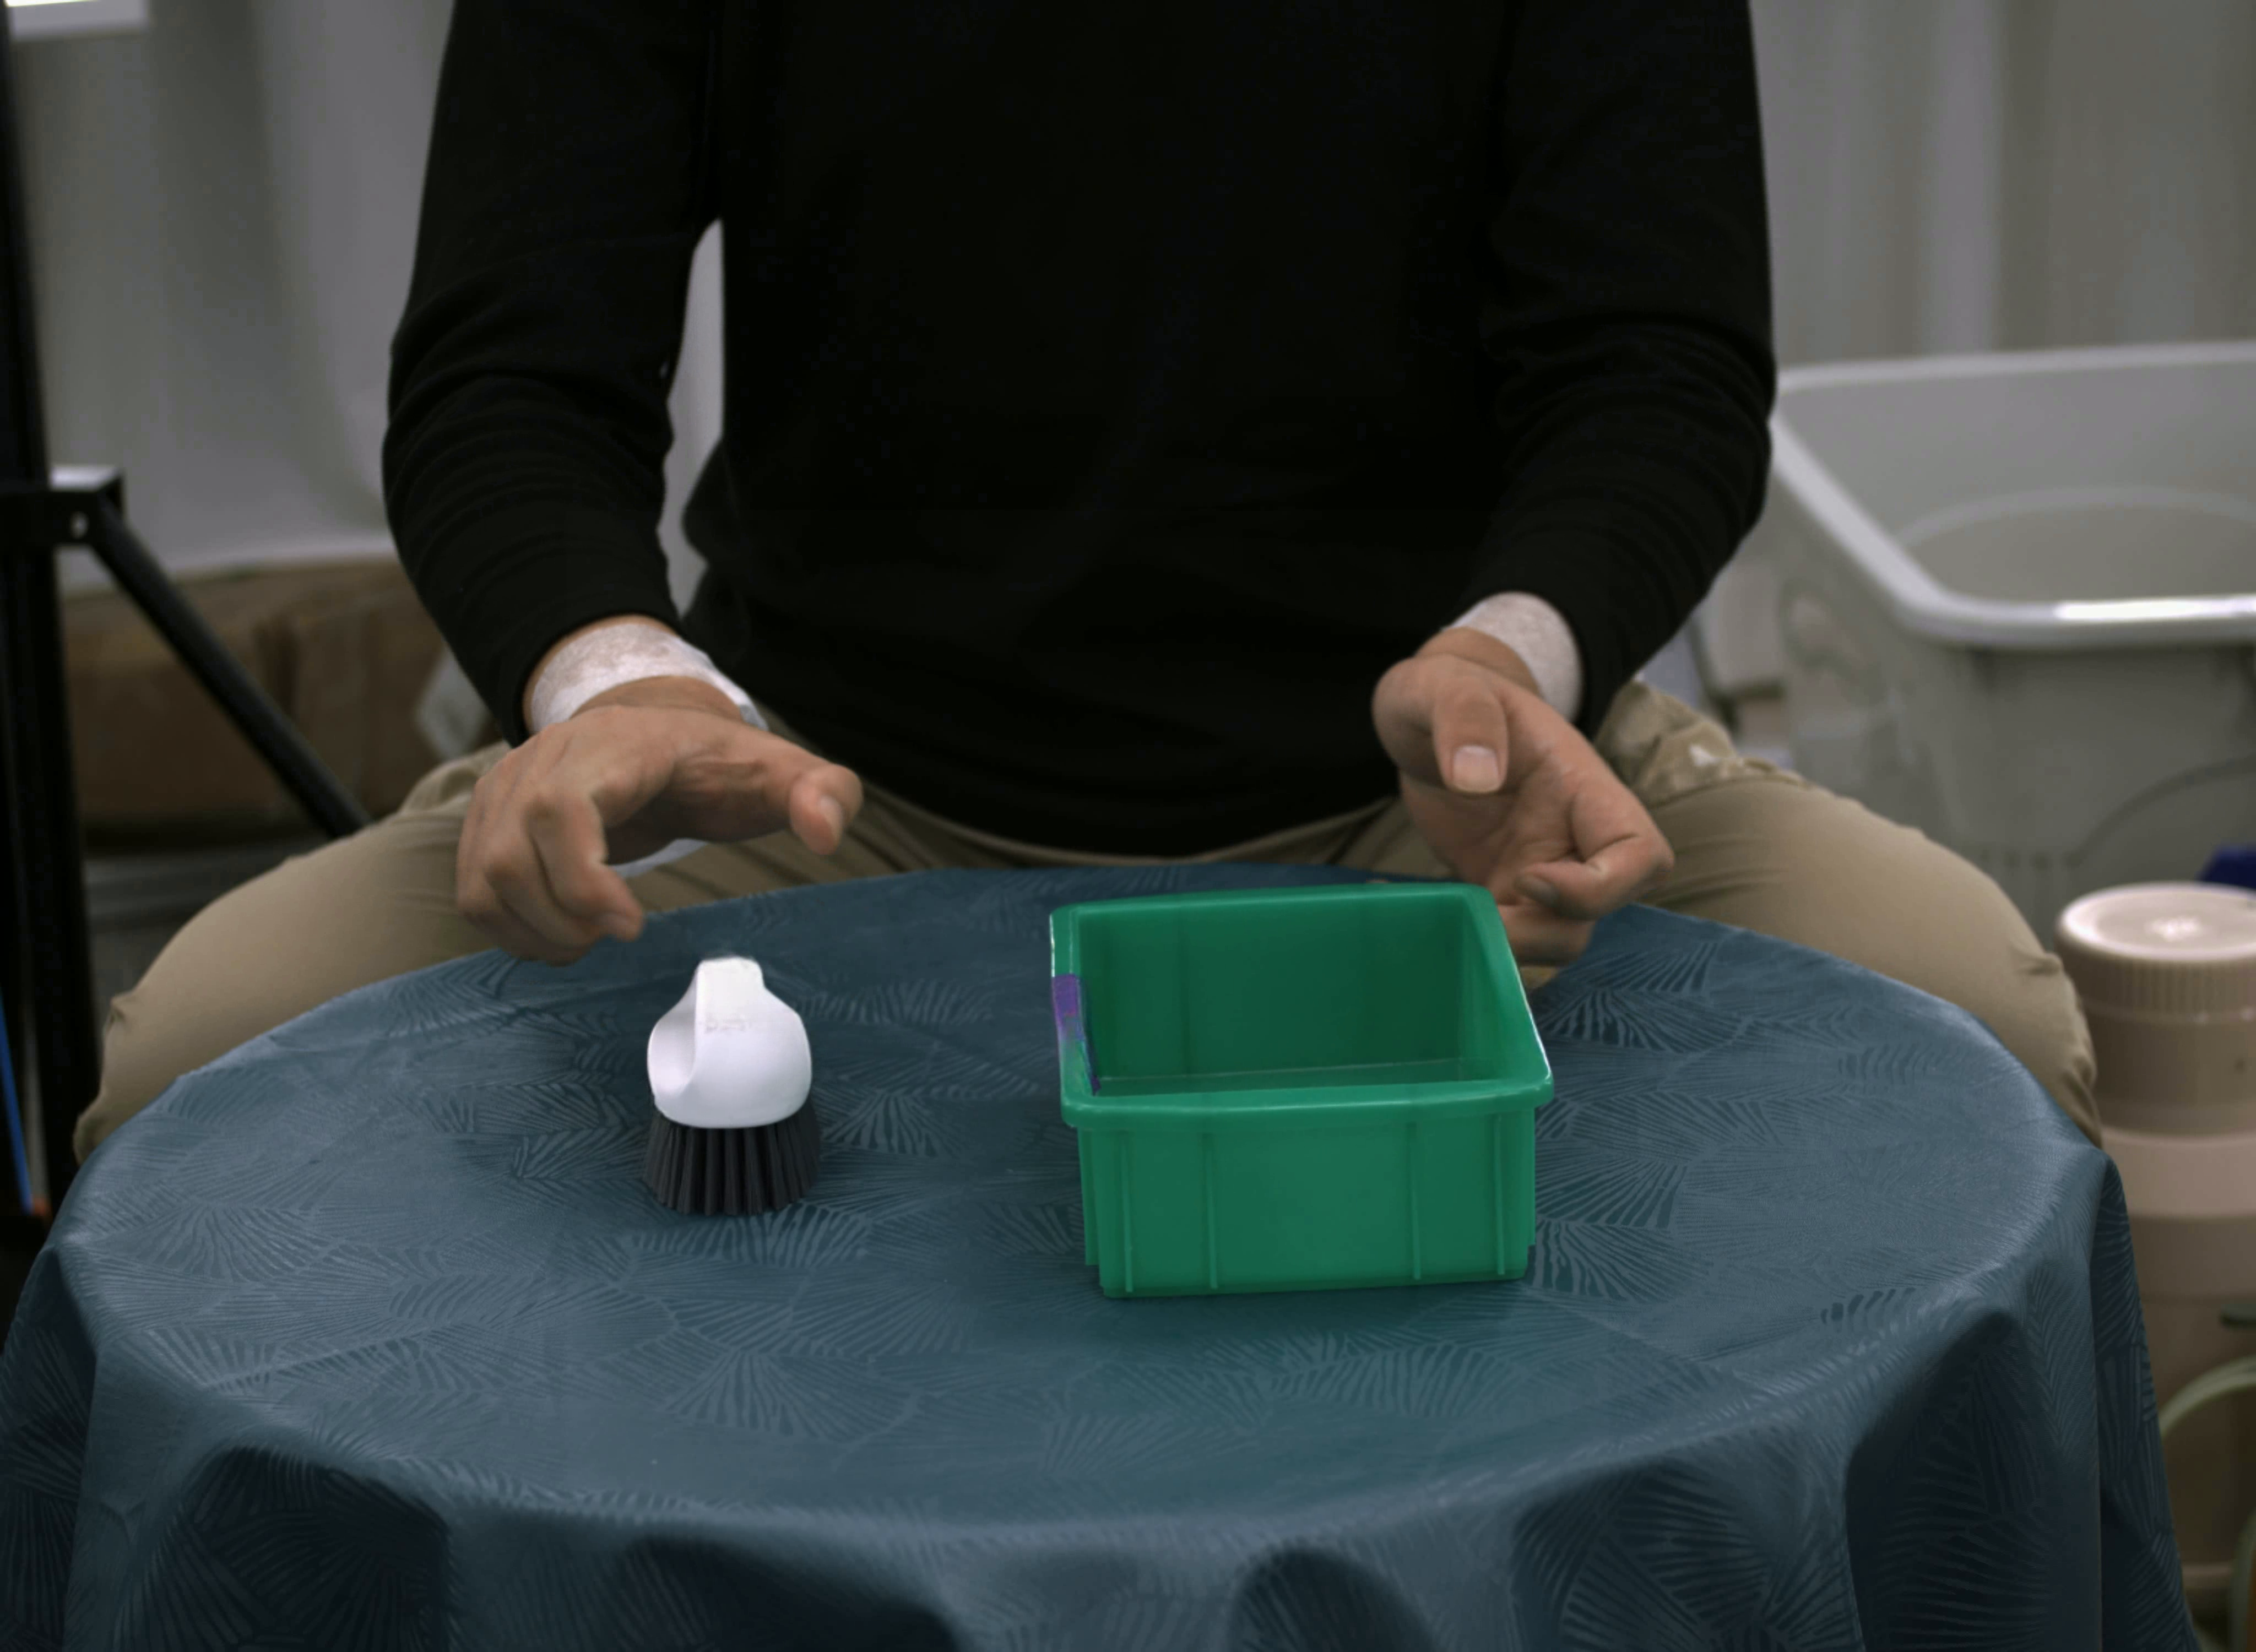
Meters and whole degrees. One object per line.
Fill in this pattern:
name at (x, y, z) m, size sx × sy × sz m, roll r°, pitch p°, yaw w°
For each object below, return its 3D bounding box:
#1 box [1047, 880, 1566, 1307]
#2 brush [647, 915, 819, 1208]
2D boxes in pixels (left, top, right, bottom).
box at (0.049, 0.077, 1.546) m, size 0.138 × 0.065 × 0.212 m, roll -5°, pitch 17°, yaw -1°
brush at (-0.119, 0.065, 1.593) m, size 0.050 × 0.072 × 0.099 m, roll -3°, pitch 15°, yaw 0°
